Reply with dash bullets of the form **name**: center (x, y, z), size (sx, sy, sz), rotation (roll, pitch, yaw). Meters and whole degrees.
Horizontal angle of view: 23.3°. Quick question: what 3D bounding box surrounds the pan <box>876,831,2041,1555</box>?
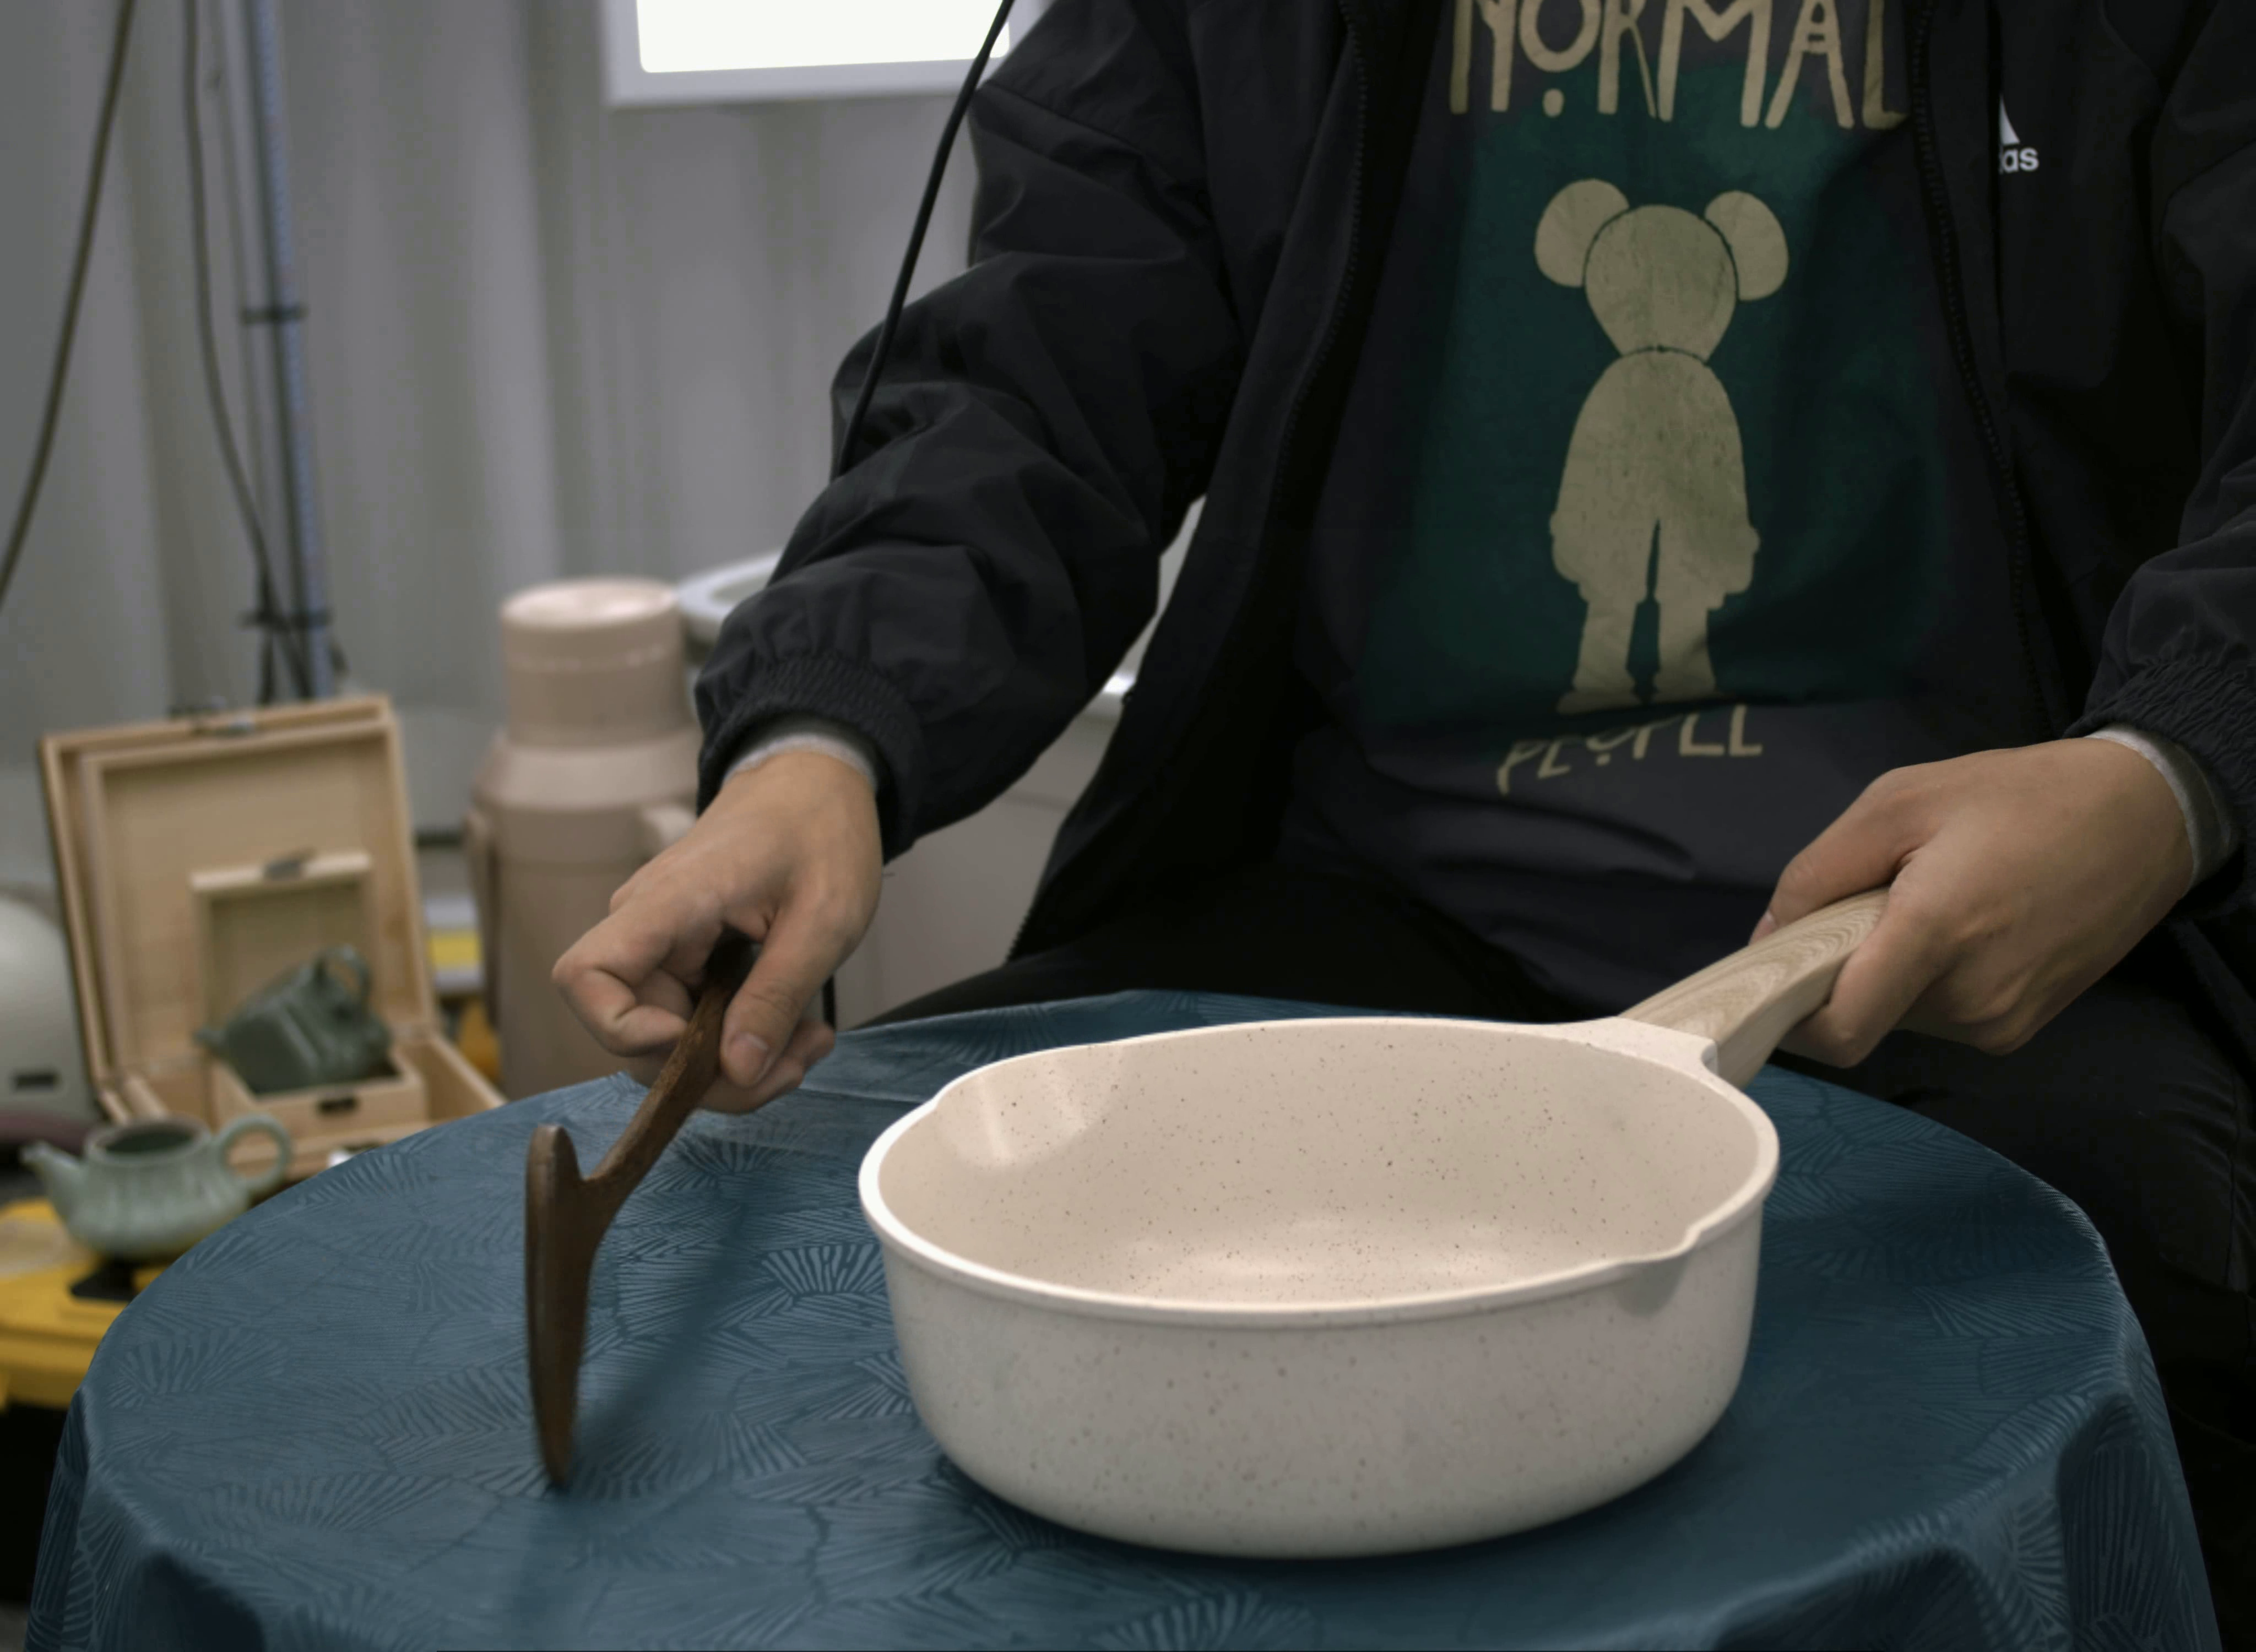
- **pan**: center (0.124, 0.099, 1.552), size (0.434, 0.101, 0.265), rotation (-17, 19, -41)

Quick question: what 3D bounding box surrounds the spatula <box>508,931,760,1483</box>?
- **spatula**: center (-0.146, 0.092, 1.652), size (0.016, 0.096, 0.388), rotation (2, 14, 6)
